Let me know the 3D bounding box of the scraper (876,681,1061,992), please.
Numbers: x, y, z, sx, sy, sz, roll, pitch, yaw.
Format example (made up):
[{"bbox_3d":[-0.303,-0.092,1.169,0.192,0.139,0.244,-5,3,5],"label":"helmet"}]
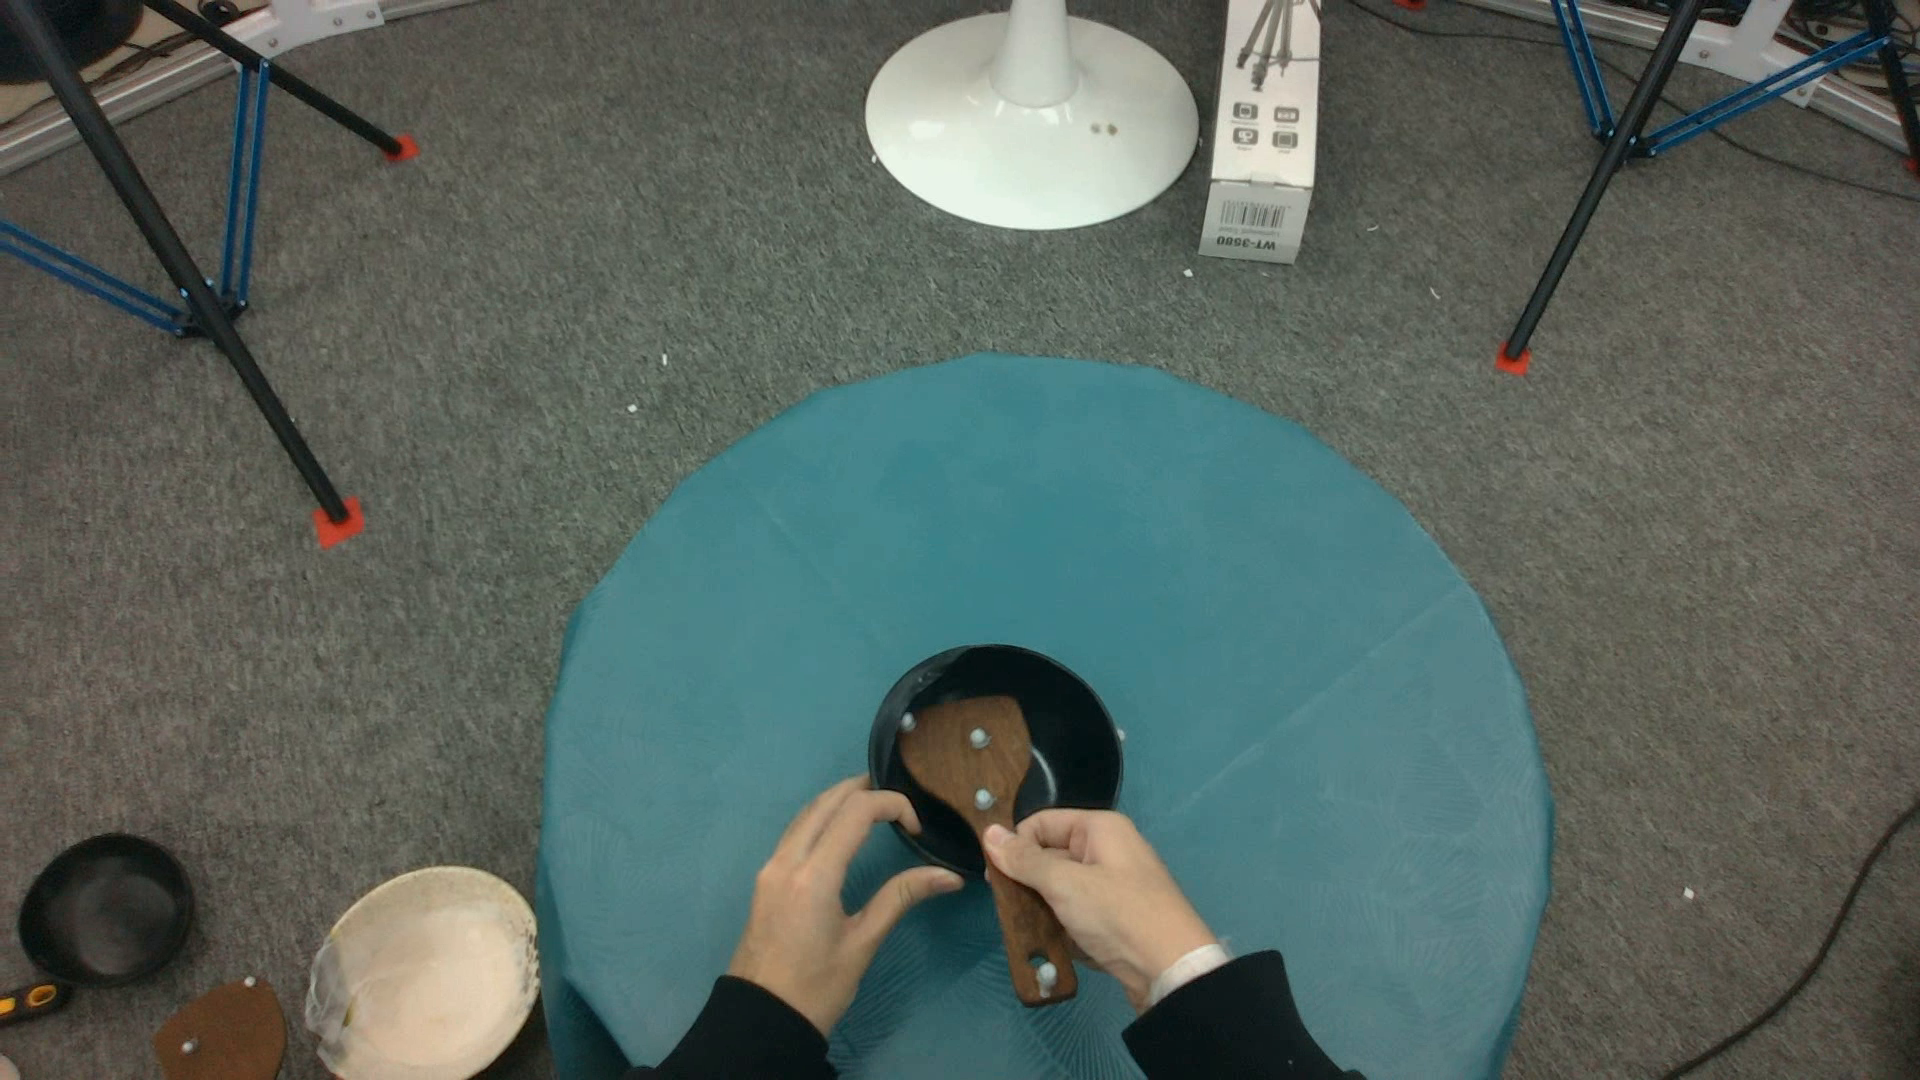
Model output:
[{"bbox_3d":[0.010,0.141,0.690,0.076,0.011,0.212,-9,33,-9],"label":"scraper"}]

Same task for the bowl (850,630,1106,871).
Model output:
[{"bbox_3d":[0.007,0.121,0.756,0.140,0.049,0.140,4,55,-6],"label":"bowl"}]
